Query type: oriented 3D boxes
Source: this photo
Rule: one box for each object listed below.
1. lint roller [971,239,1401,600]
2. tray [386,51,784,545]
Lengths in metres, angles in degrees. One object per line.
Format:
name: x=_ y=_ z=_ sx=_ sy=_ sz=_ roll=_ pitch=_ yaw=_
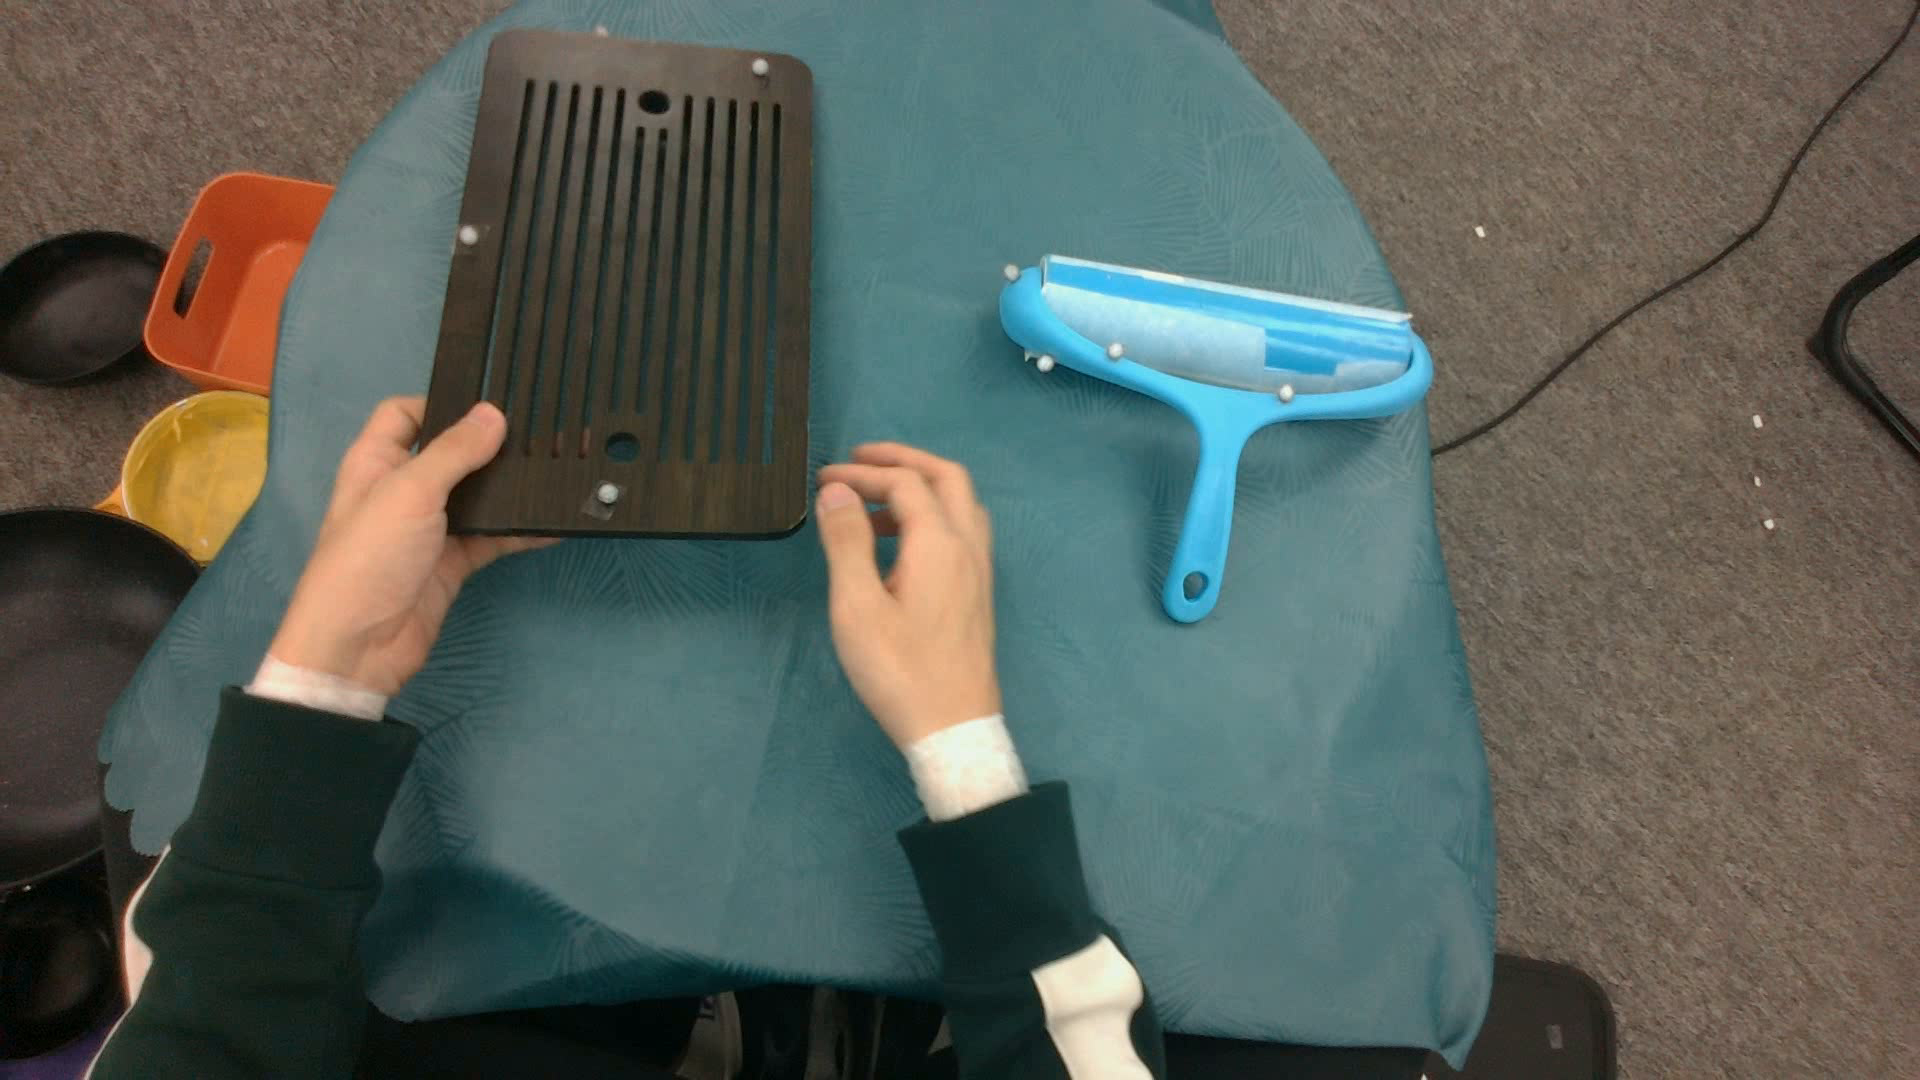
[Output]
lint roller: x=0.117 y=-0.064 z=0.703 sx=0.229 sy=0.067 sz=0.181 roll=5 pitch=69 yaw=-8
tray: x=-0.175 y=-0.131 z=0.676 sx=0.170 sy=0.018 sz=0.307 roll=-2 pitch=59 yaw=-7
